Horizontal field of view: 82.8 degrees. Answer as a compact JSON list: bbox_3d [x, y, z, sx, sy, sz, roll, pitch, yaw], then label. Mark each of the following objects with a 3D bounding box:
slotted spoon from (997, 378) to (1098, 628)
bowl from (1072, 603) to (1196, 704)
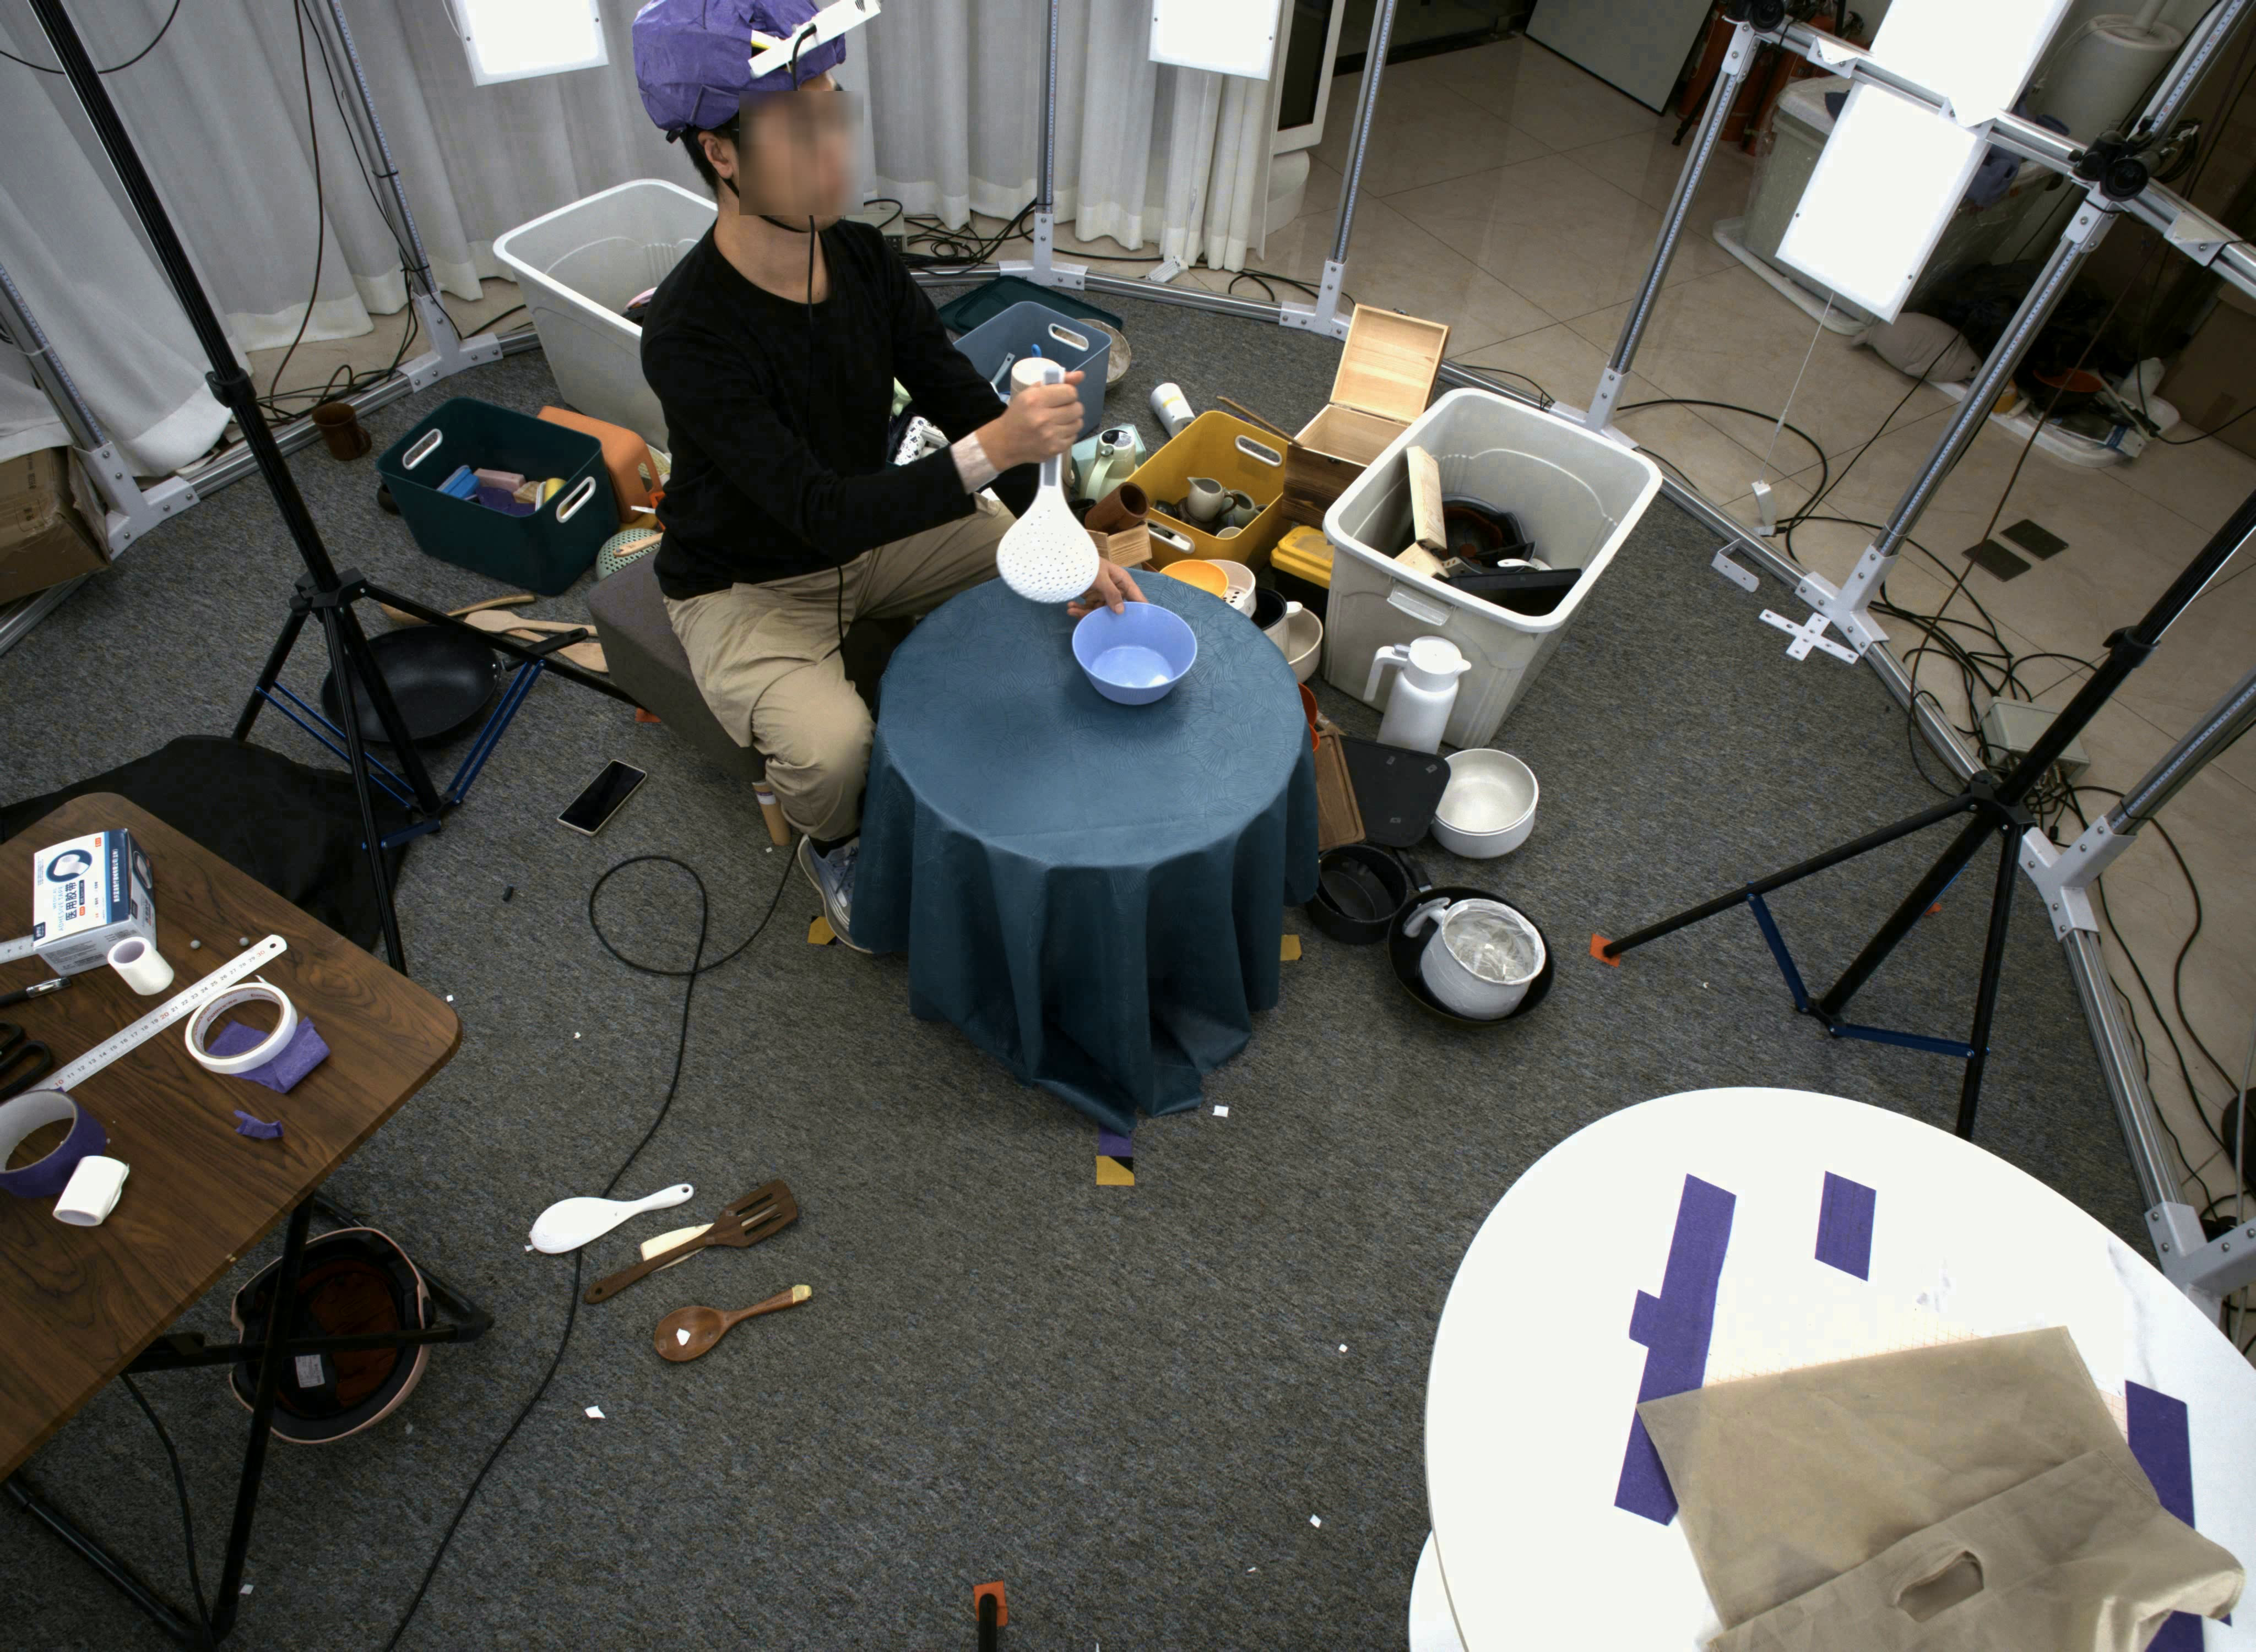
[{"bbox_3d":[-0.106,-0.390,1.618,0.136,0.341,0.047,7,38,7],"label":"slotted spoon"},{"bbox_3d":[0.007,-0.237,1.831,0.176,0.068,0.180,1,49,-2],"label":"bowl"}]
